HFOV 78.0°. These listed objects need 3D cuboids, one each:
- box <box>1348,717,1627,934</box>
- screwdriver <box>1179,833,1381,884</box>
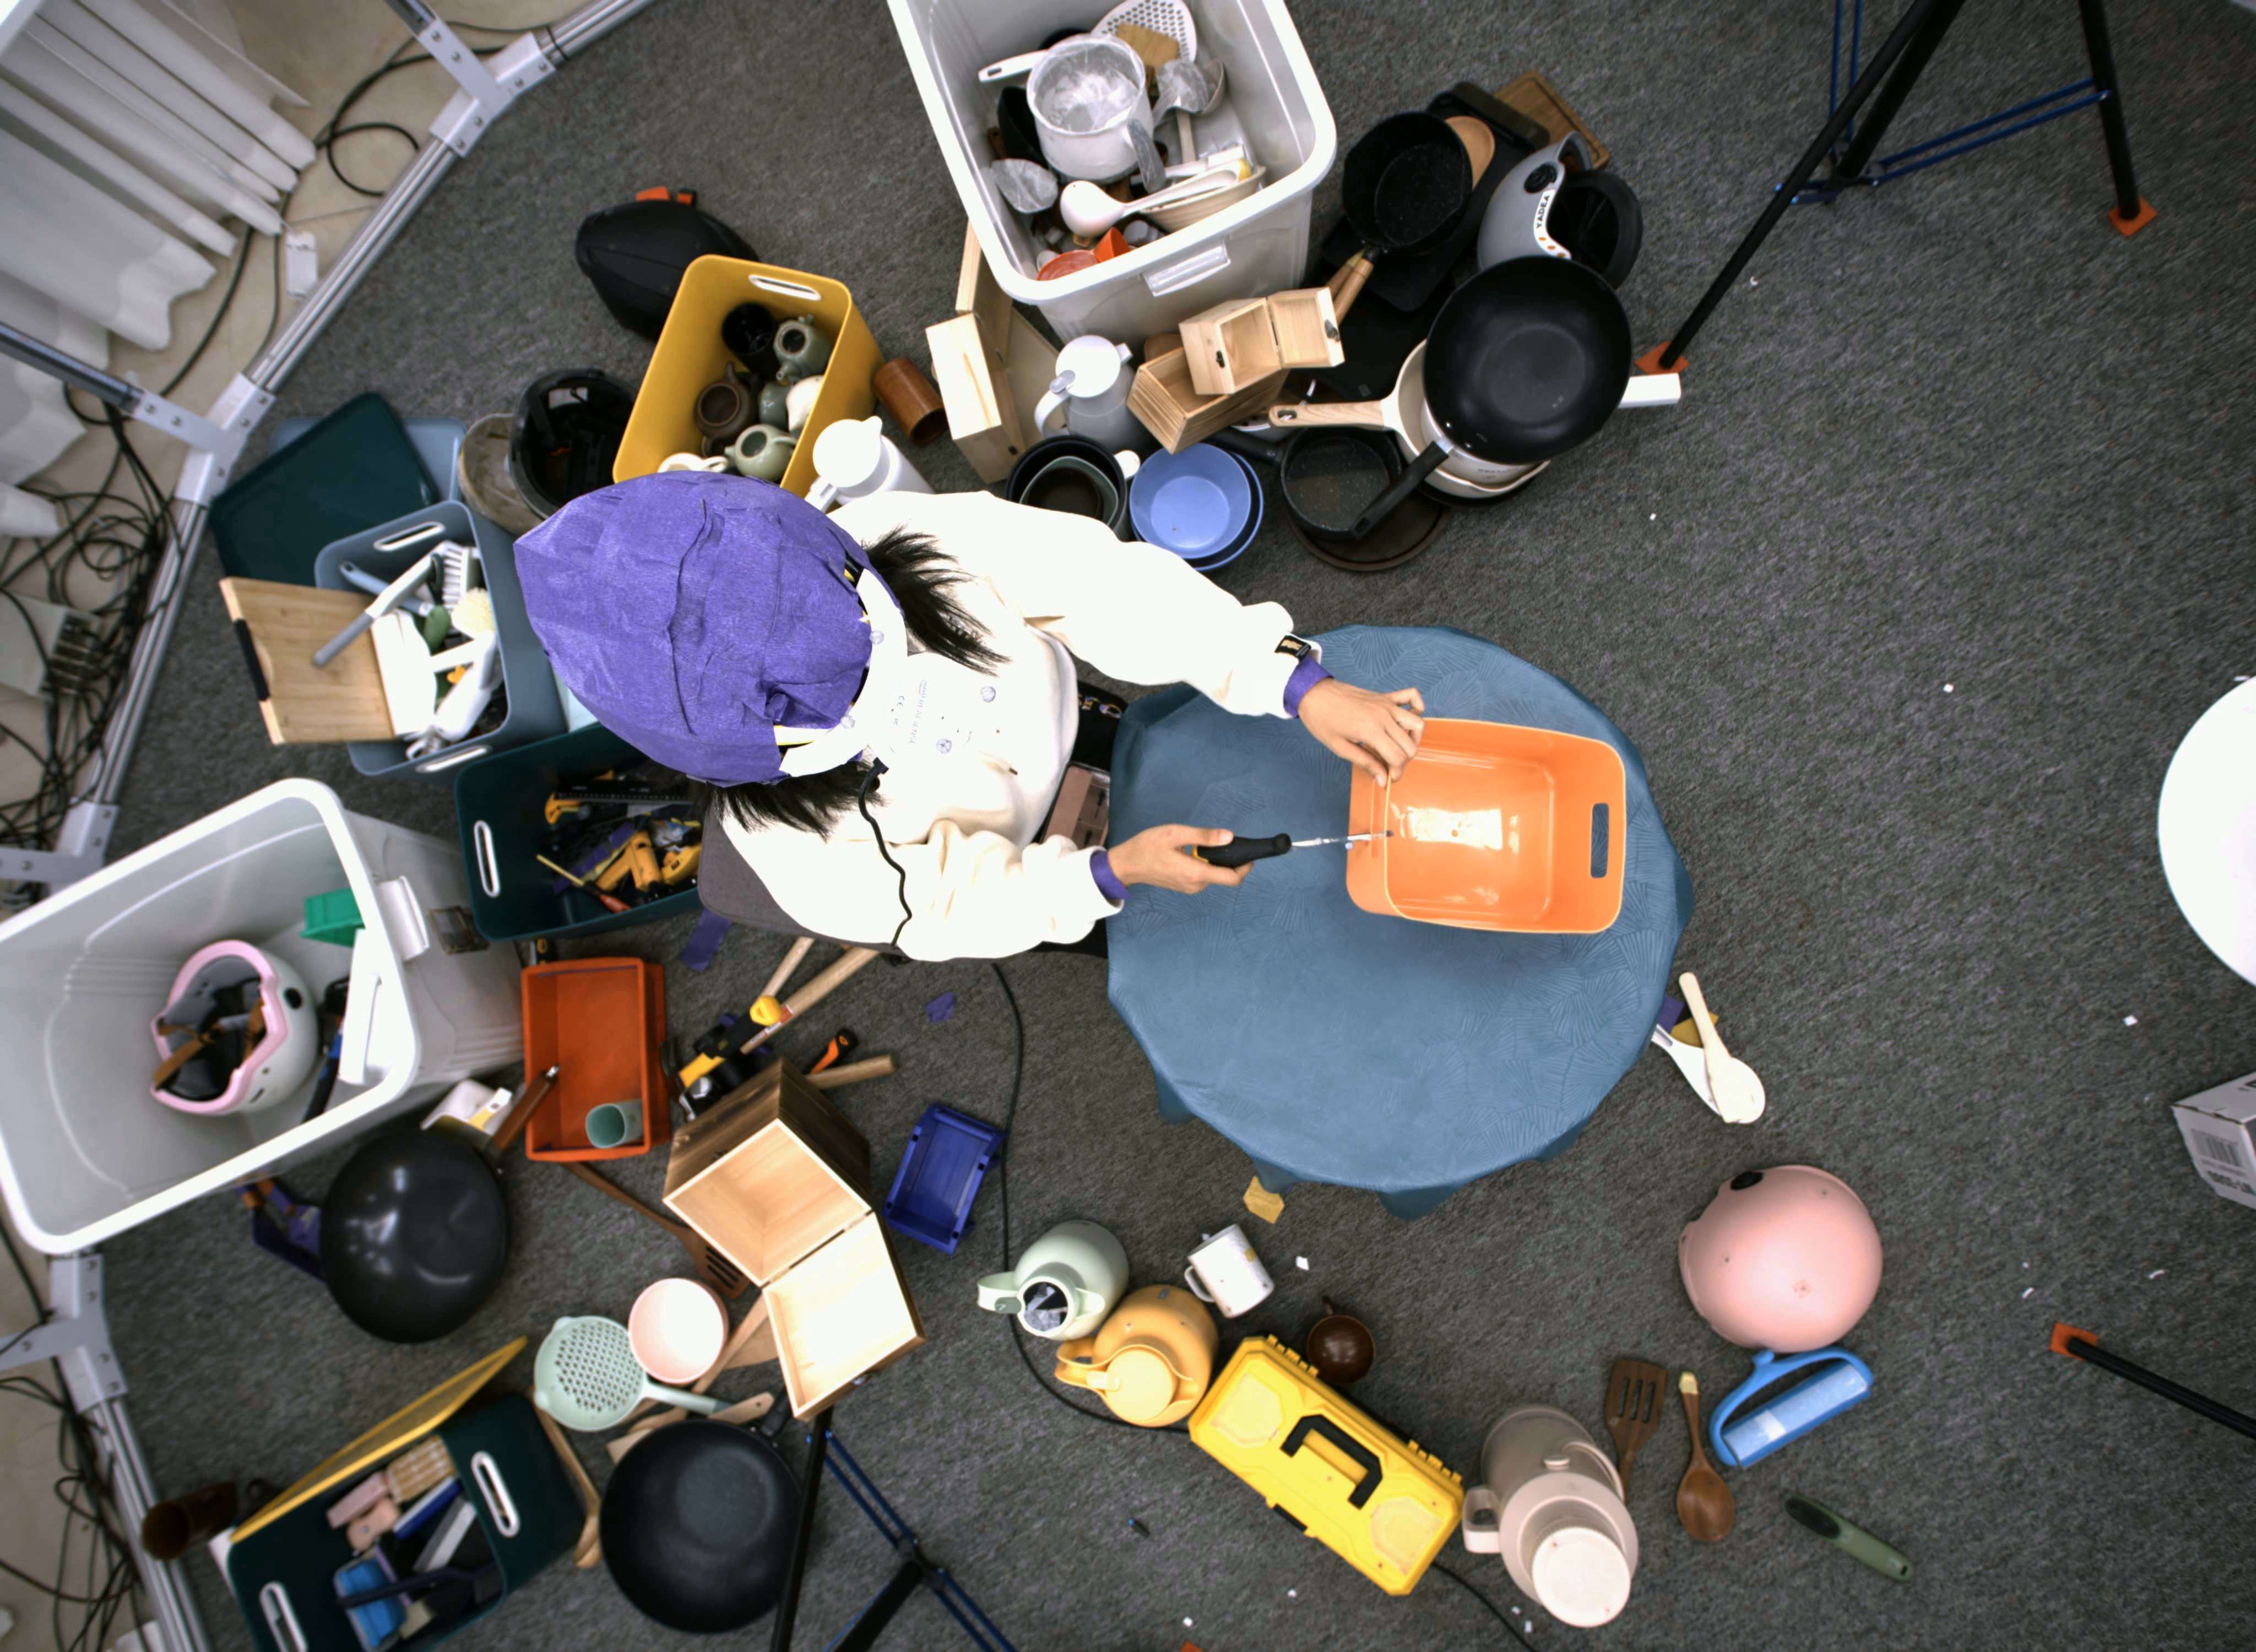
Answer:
[{"bbox_3d":[0.346,0.001,1.347,0.272,0.103,0.199,4,87,-19],"label":"box"},{"bbox_3d":[0.142,0.024,1.313,0.200,0.031,0.031,-14,82,21],"label":"screwdriver"}]
